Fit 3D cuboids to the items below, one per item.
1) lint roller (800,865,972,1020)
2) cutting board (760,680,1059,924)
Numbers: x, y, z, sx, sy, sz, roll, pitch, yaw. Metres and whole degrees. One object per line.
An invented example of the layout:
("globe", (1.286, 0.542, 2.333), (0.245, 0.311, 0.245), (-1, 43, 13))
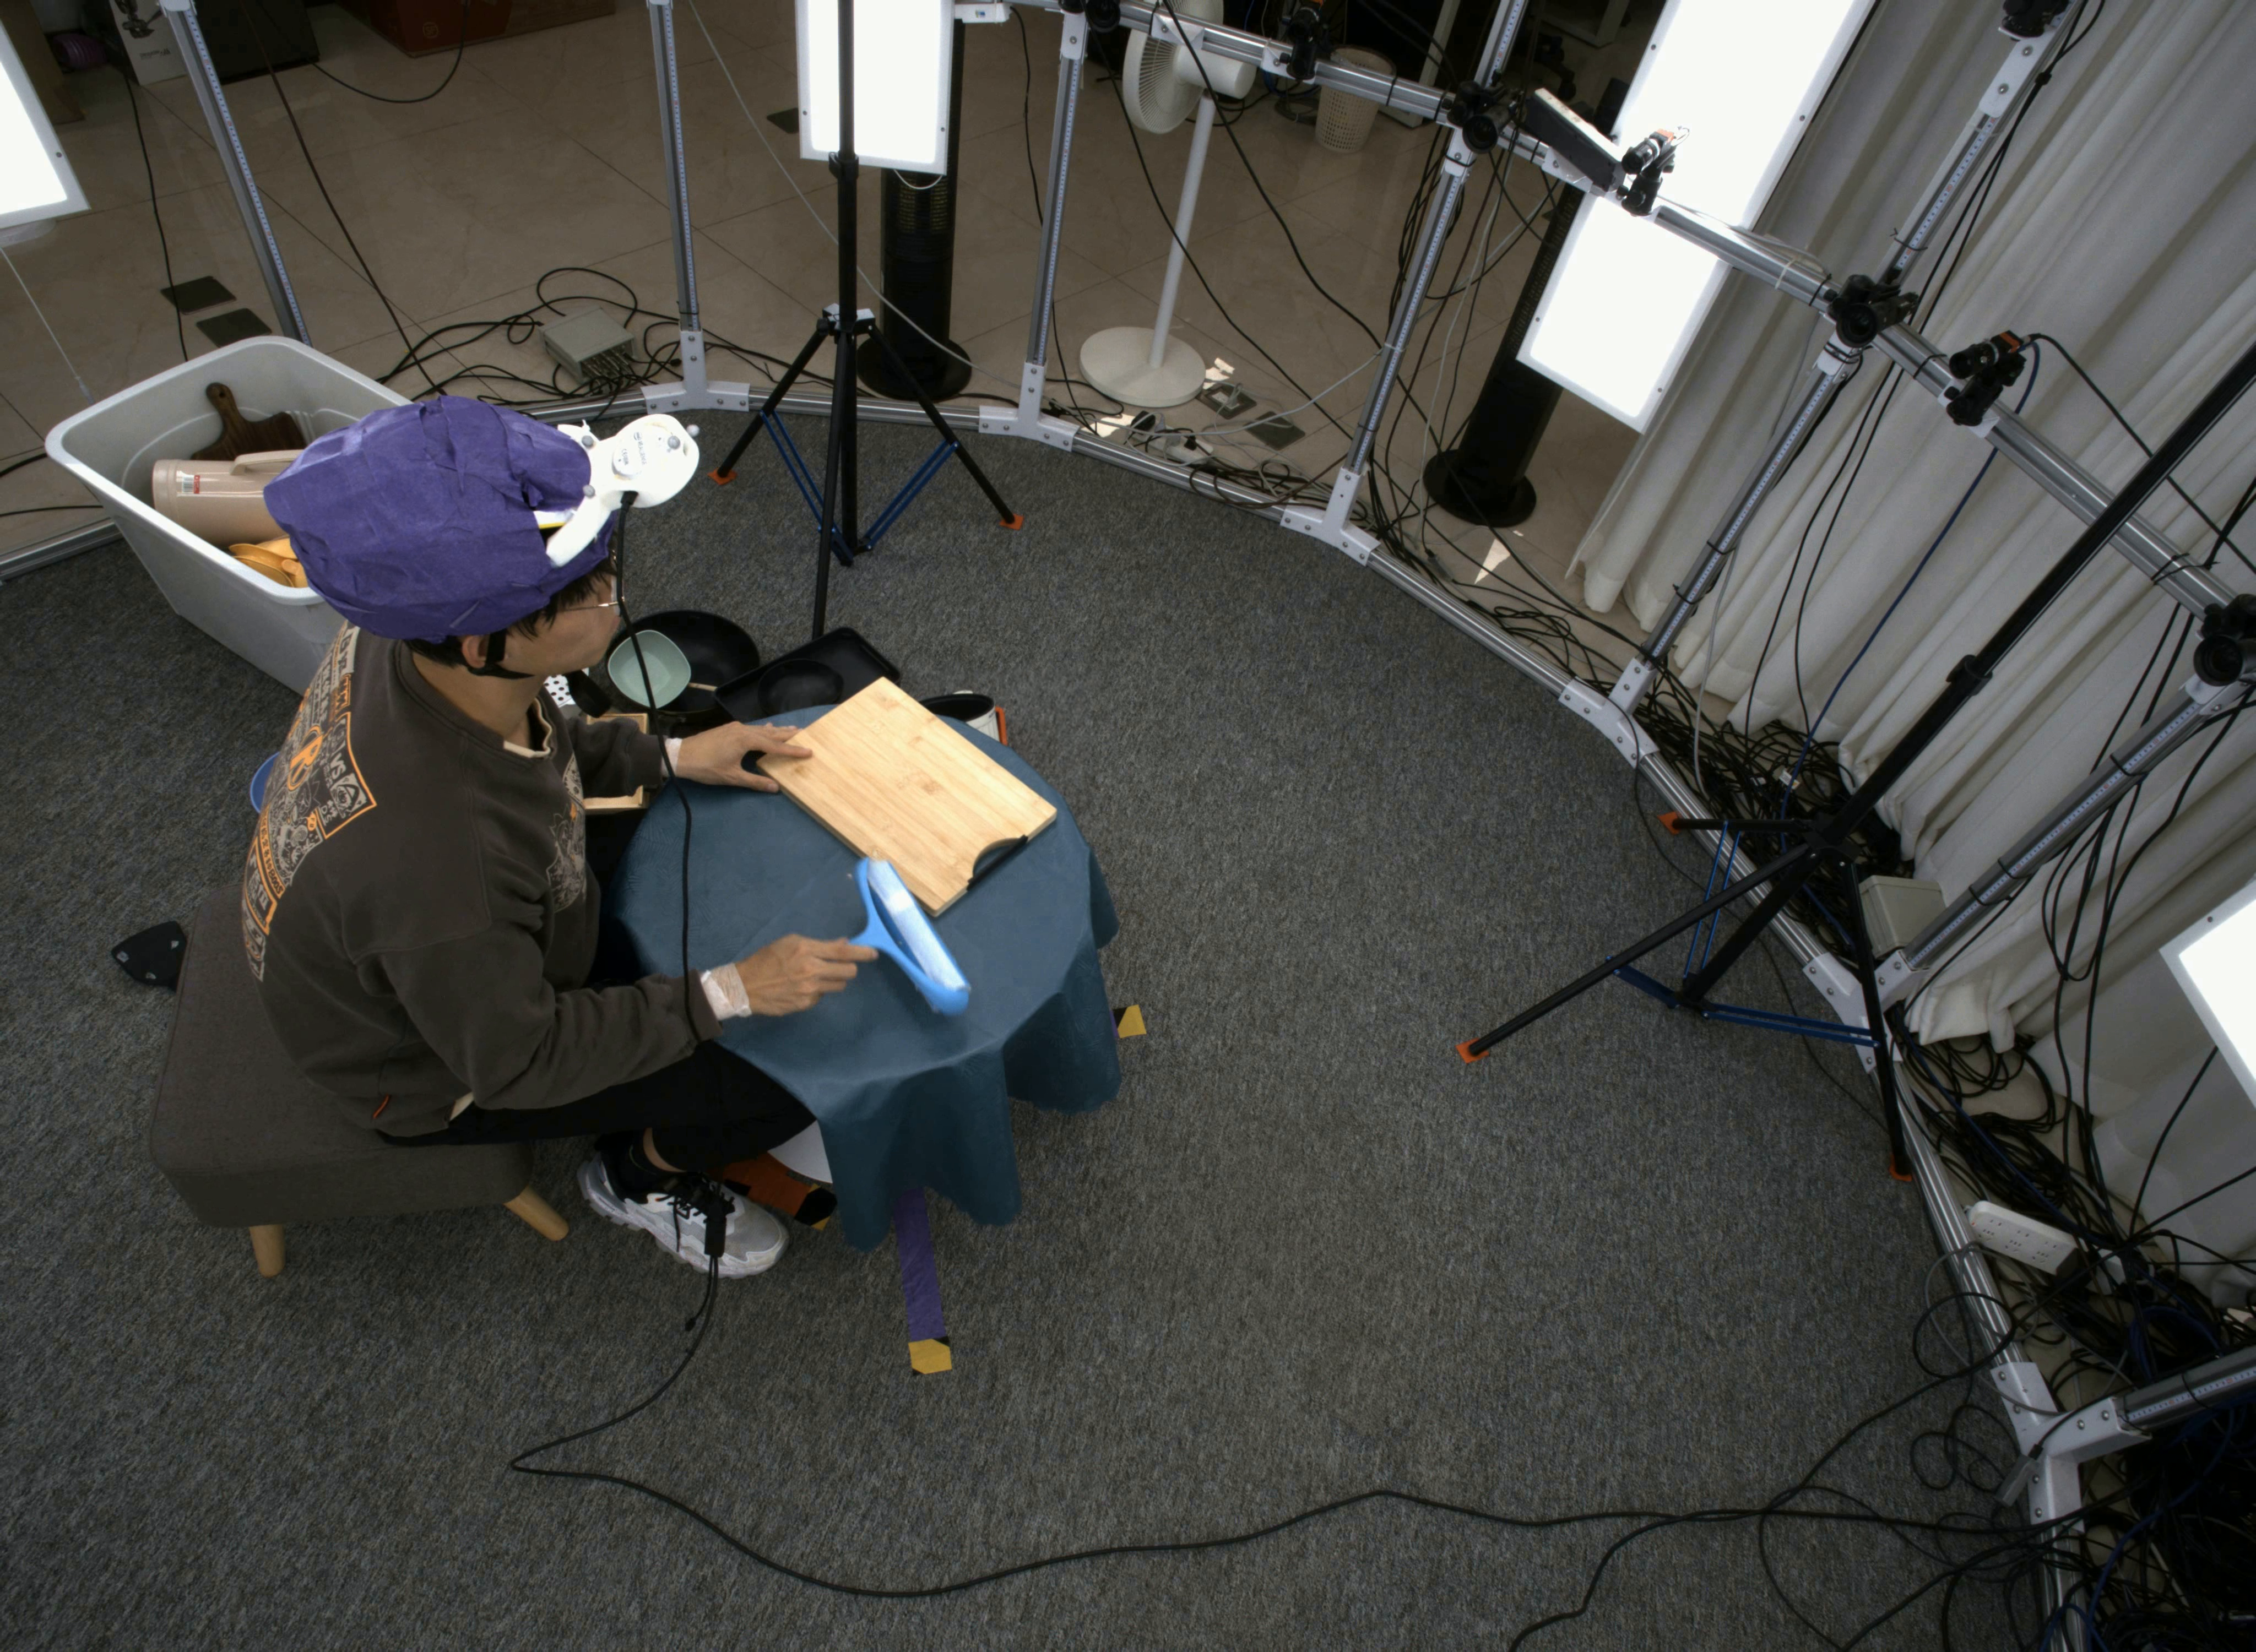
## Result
("lint roller", (-0.304, 0.153, 1.555), (0.182, 0.068, 0.225), (-20, 67, -44))
("cutting board", (-0.299, -0.045, 1.792), (0.341, 0.024, 0.251), (37, 55, 14))
